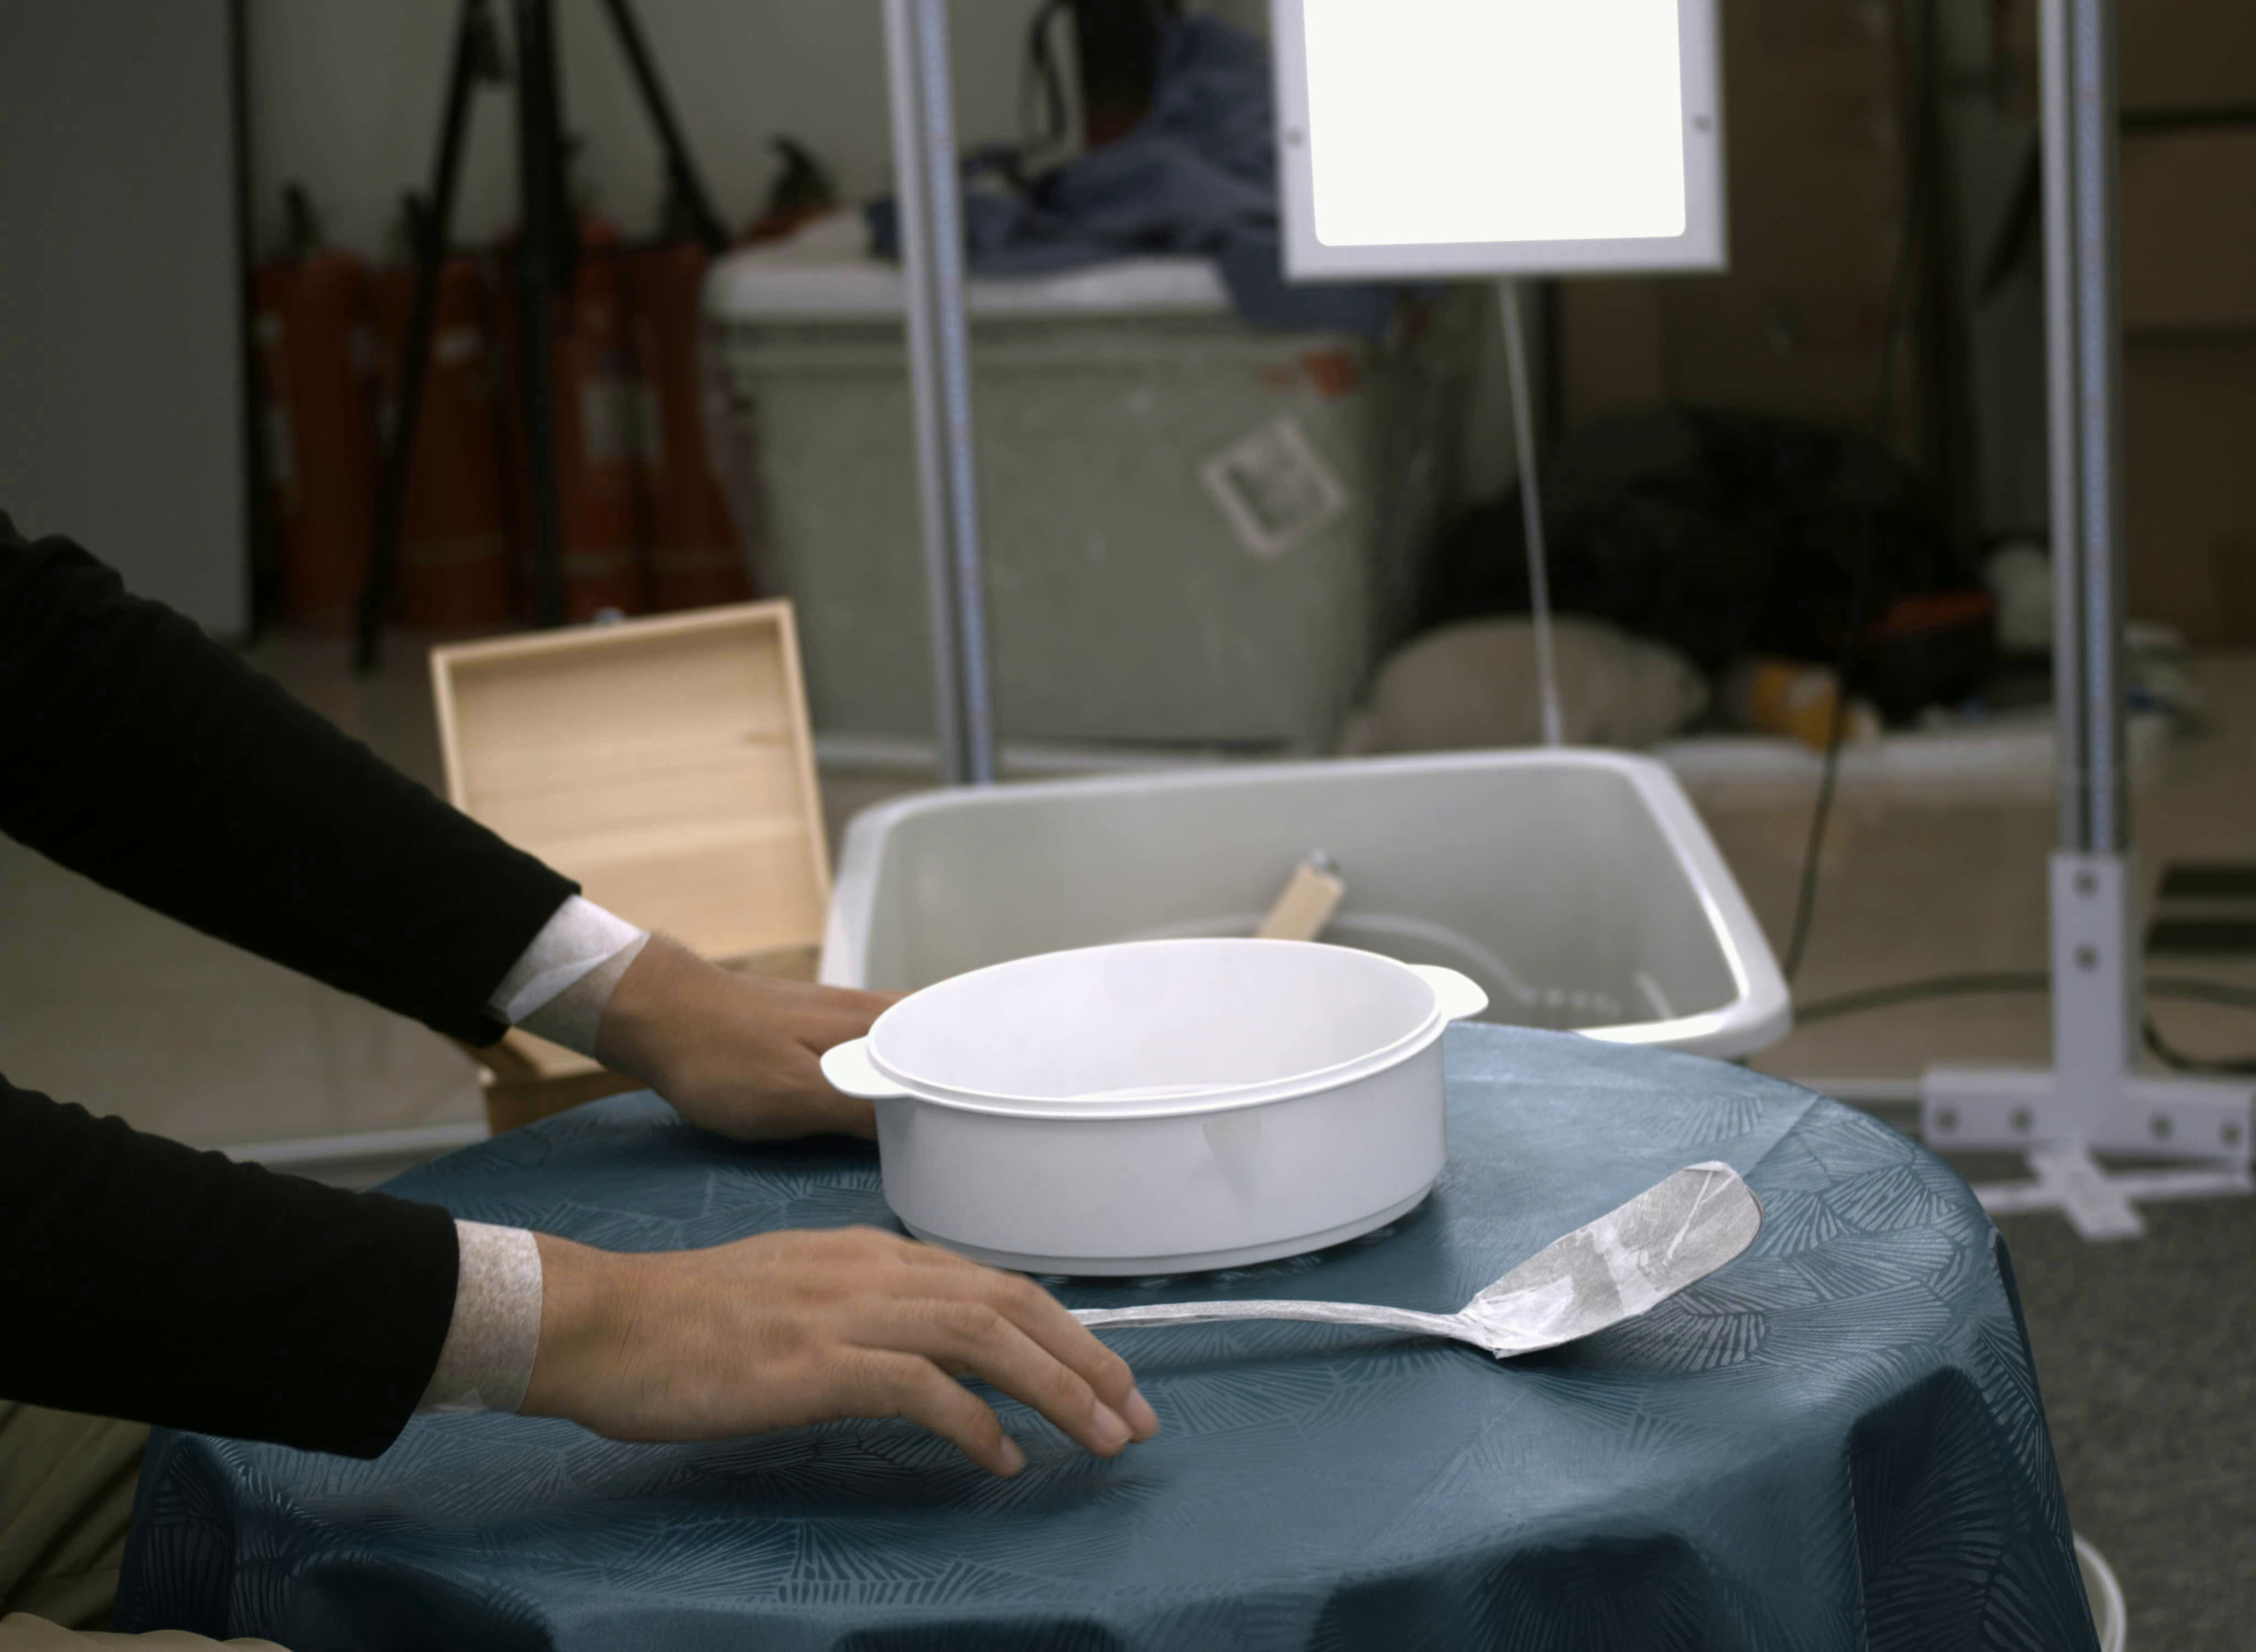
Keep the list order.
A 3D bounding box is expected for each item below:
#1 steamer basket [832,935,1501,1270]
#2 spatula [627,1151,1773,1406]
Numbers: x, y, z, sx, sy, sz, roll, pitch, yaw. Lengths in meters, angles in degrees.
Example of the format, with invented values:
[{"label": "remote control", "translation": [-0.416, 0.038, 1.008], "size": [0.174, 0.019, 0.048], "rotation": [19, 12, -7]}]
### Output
[{"label": "steamer basket", "translation": [0.016, 0.094, 1.876], "size": [0.228, 0.069, 0.203], "rotation": [-8, 13, -9]}, {"label": "spatula", "translation": [0.021, 0.148, 1.722], "size": [0.364, 0.045, 0.098], "rotation": [-5, 16, 2]}]
